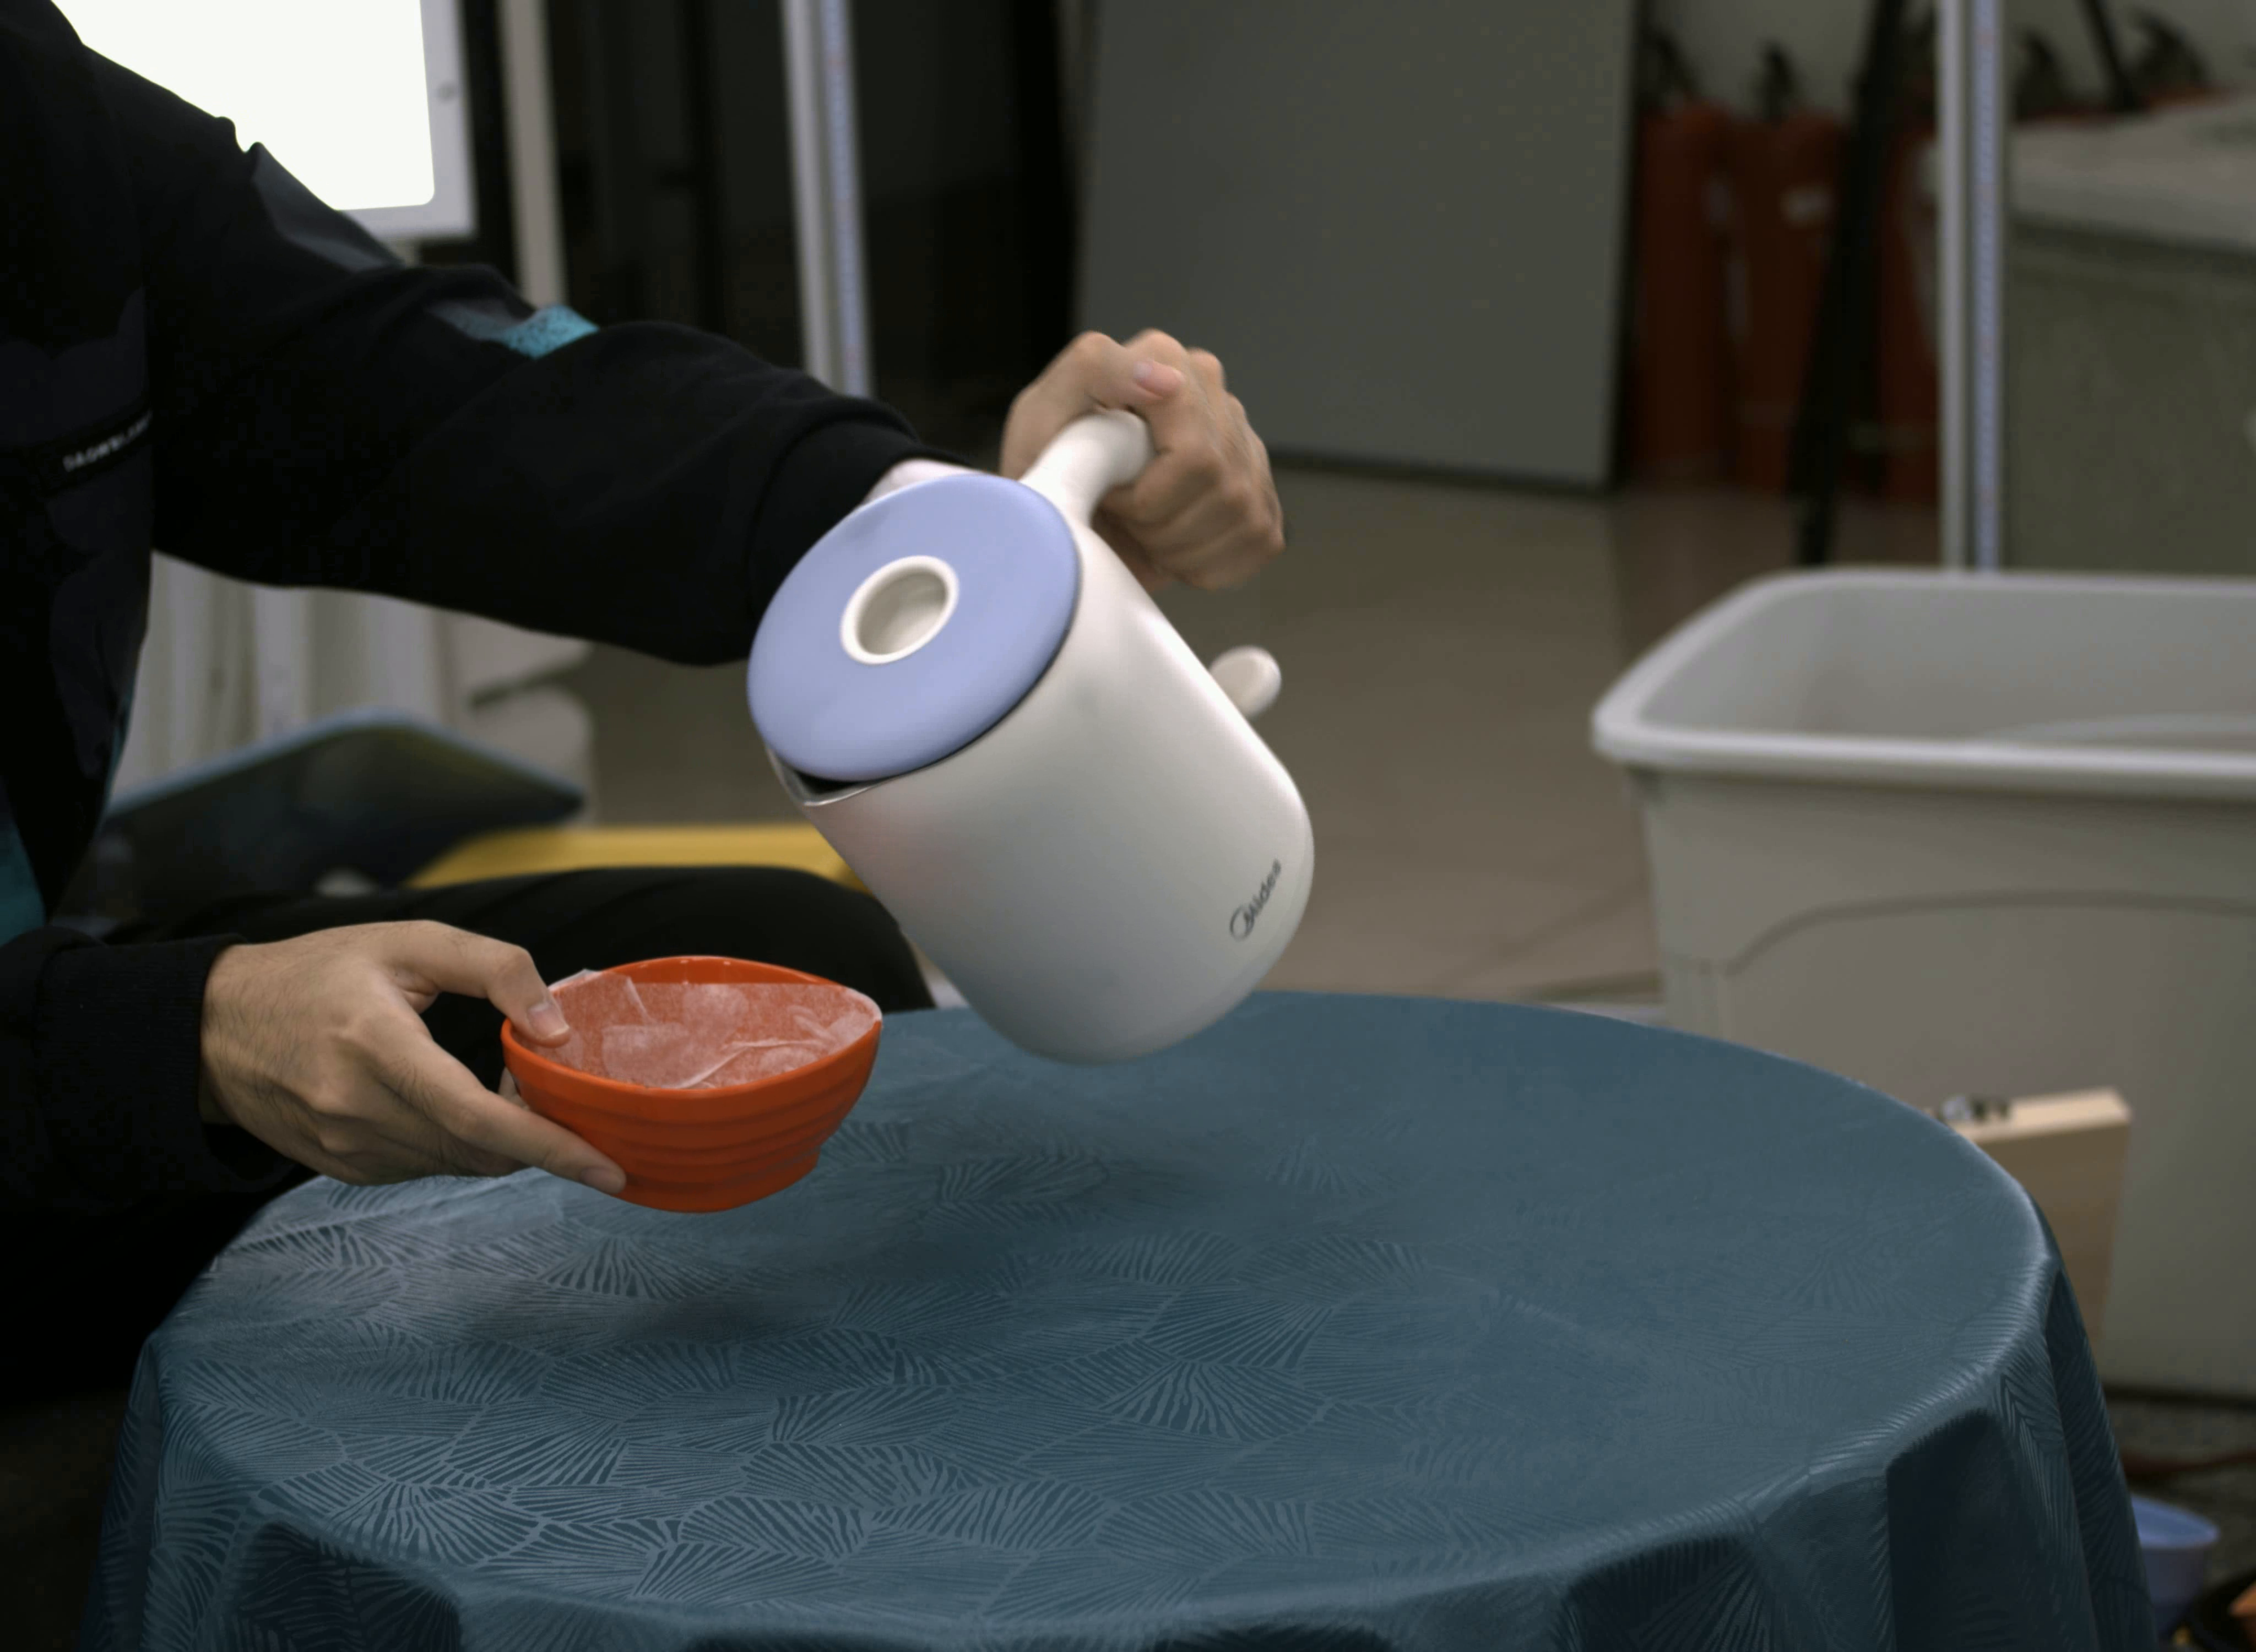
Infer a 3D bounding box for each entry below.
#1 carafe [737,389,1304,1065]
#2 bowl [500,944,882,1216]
[{"bbox_3d":[-0.023,-0.040,1.752,0.133,0.181,0.191,11,61,39],"label":"carafe"},{"bbox_3d":[-0.134,0.081,1.673,0.117,0.052,0.119,-1,21,-1],"label":"bowl"}]
